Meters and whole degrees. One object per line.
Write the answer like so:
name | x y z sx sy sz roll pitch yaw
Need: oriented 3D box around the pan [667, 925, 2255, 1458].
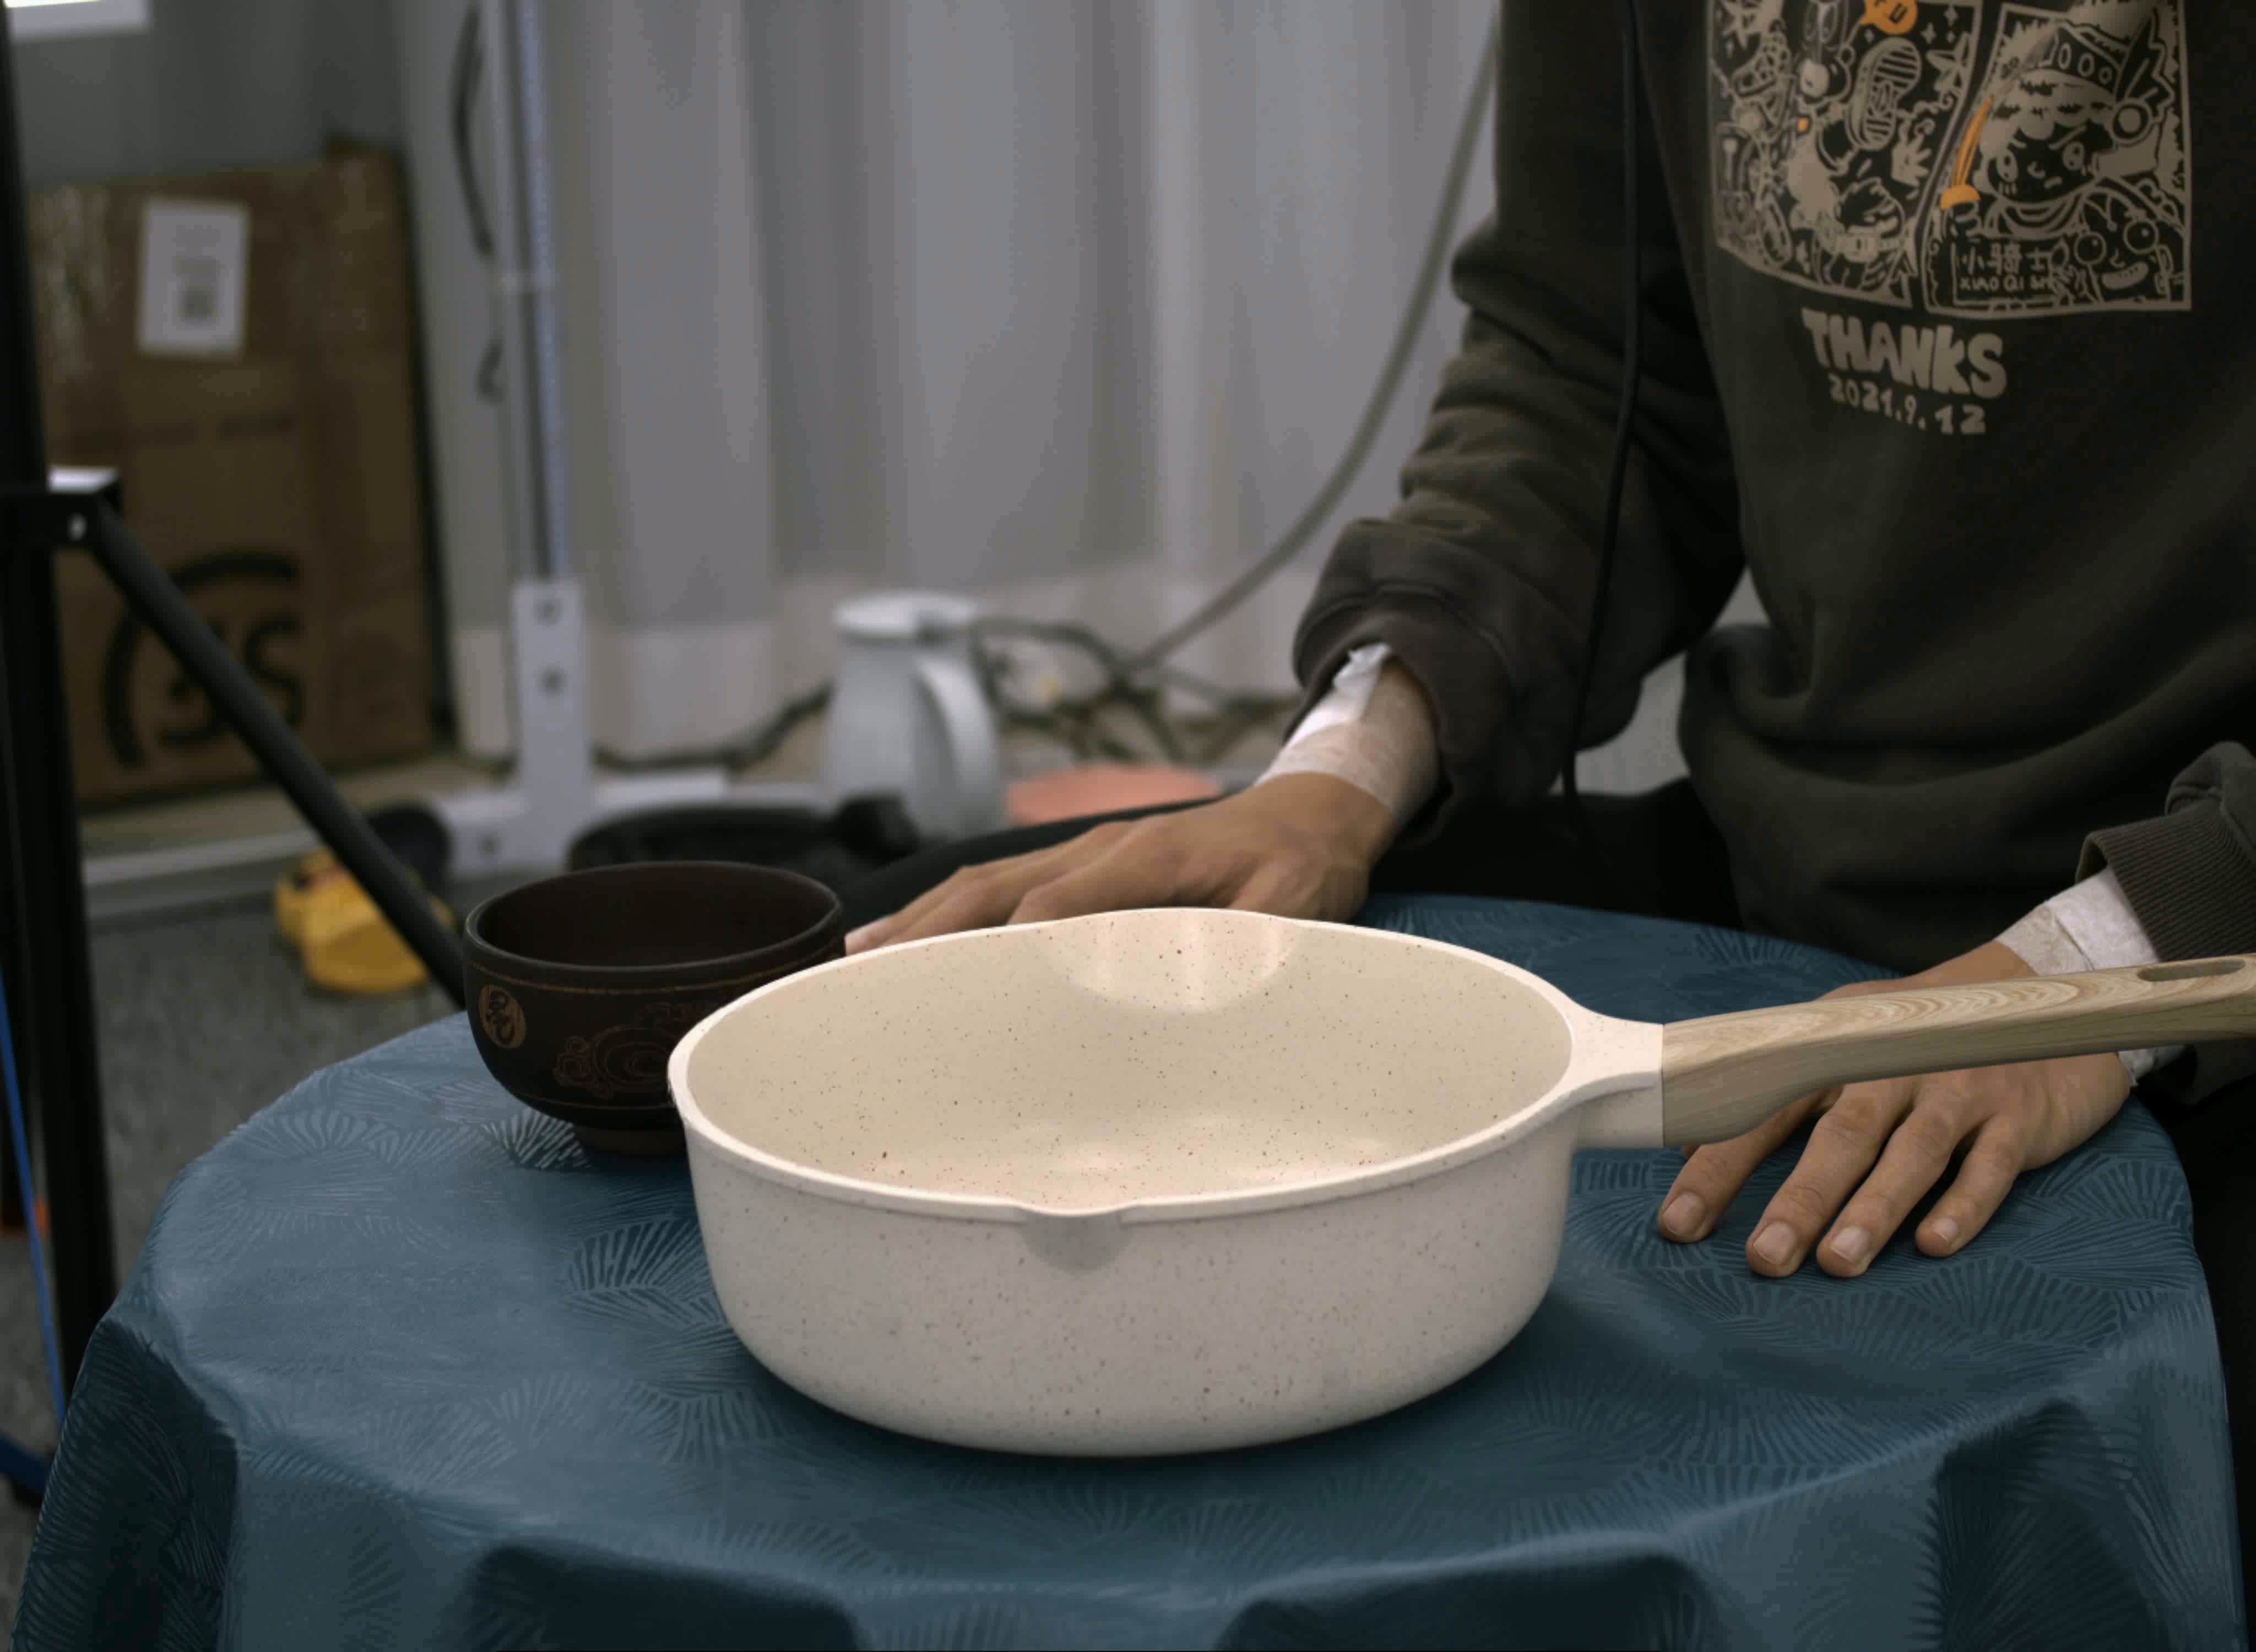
pan | 0.093 0.092 1.423 0.435 0.102 0.263 0 14 8

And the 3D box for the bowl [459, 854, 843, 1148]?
bowl | -0.145 0.057 1.634 0.117 0.070 0.118 -4 15 0
